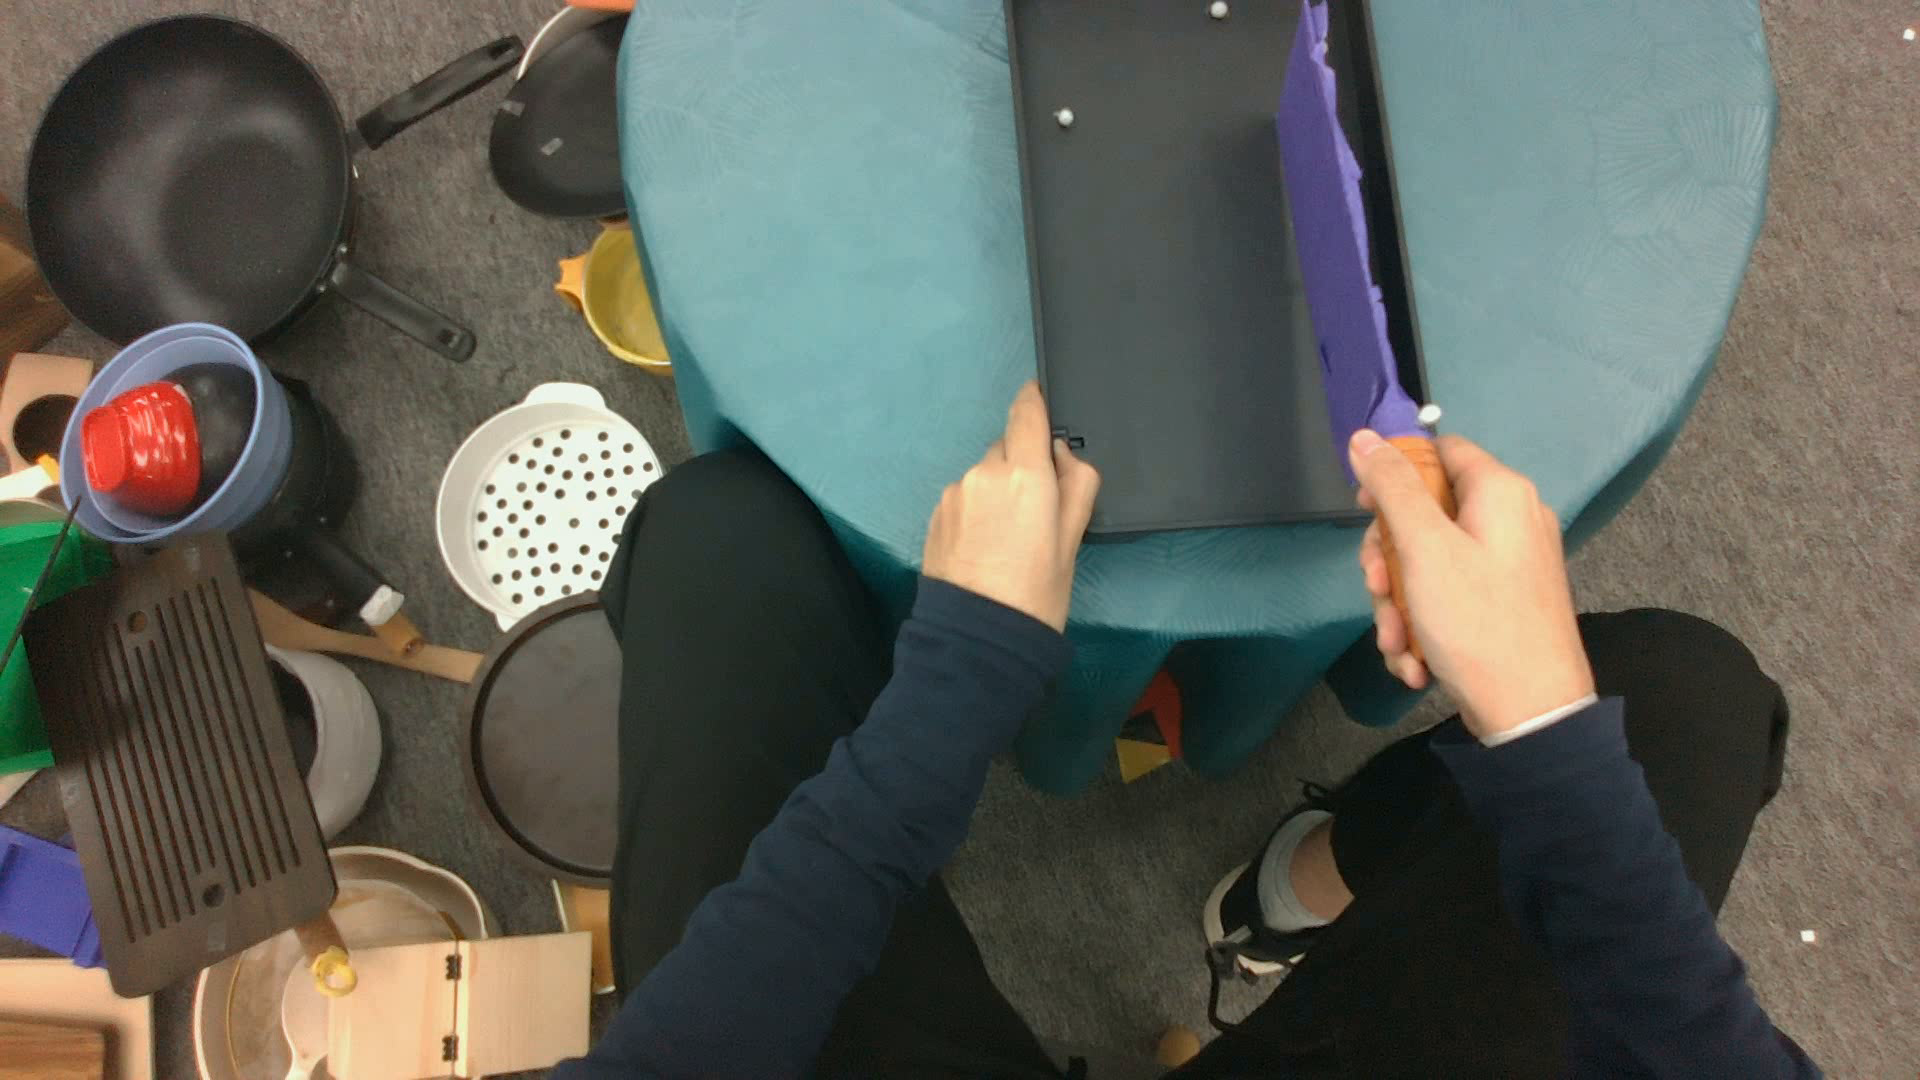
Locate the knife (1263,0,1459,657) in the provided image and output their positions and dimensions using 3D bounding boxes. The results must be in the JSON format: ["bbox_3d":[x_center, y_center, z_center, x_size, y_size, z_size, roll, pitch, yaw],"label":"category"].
[{"bbox_3d":[0.171,-0.095,0.615,0.032,0.103,0.316,-3,70,0],"label":"knife"}]

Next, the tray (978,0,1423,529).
[{"bbox_3d":[0.112,-0.166,0.689,0.184,0.037,0.318,-6,77,-3],"label":"tray"}]
